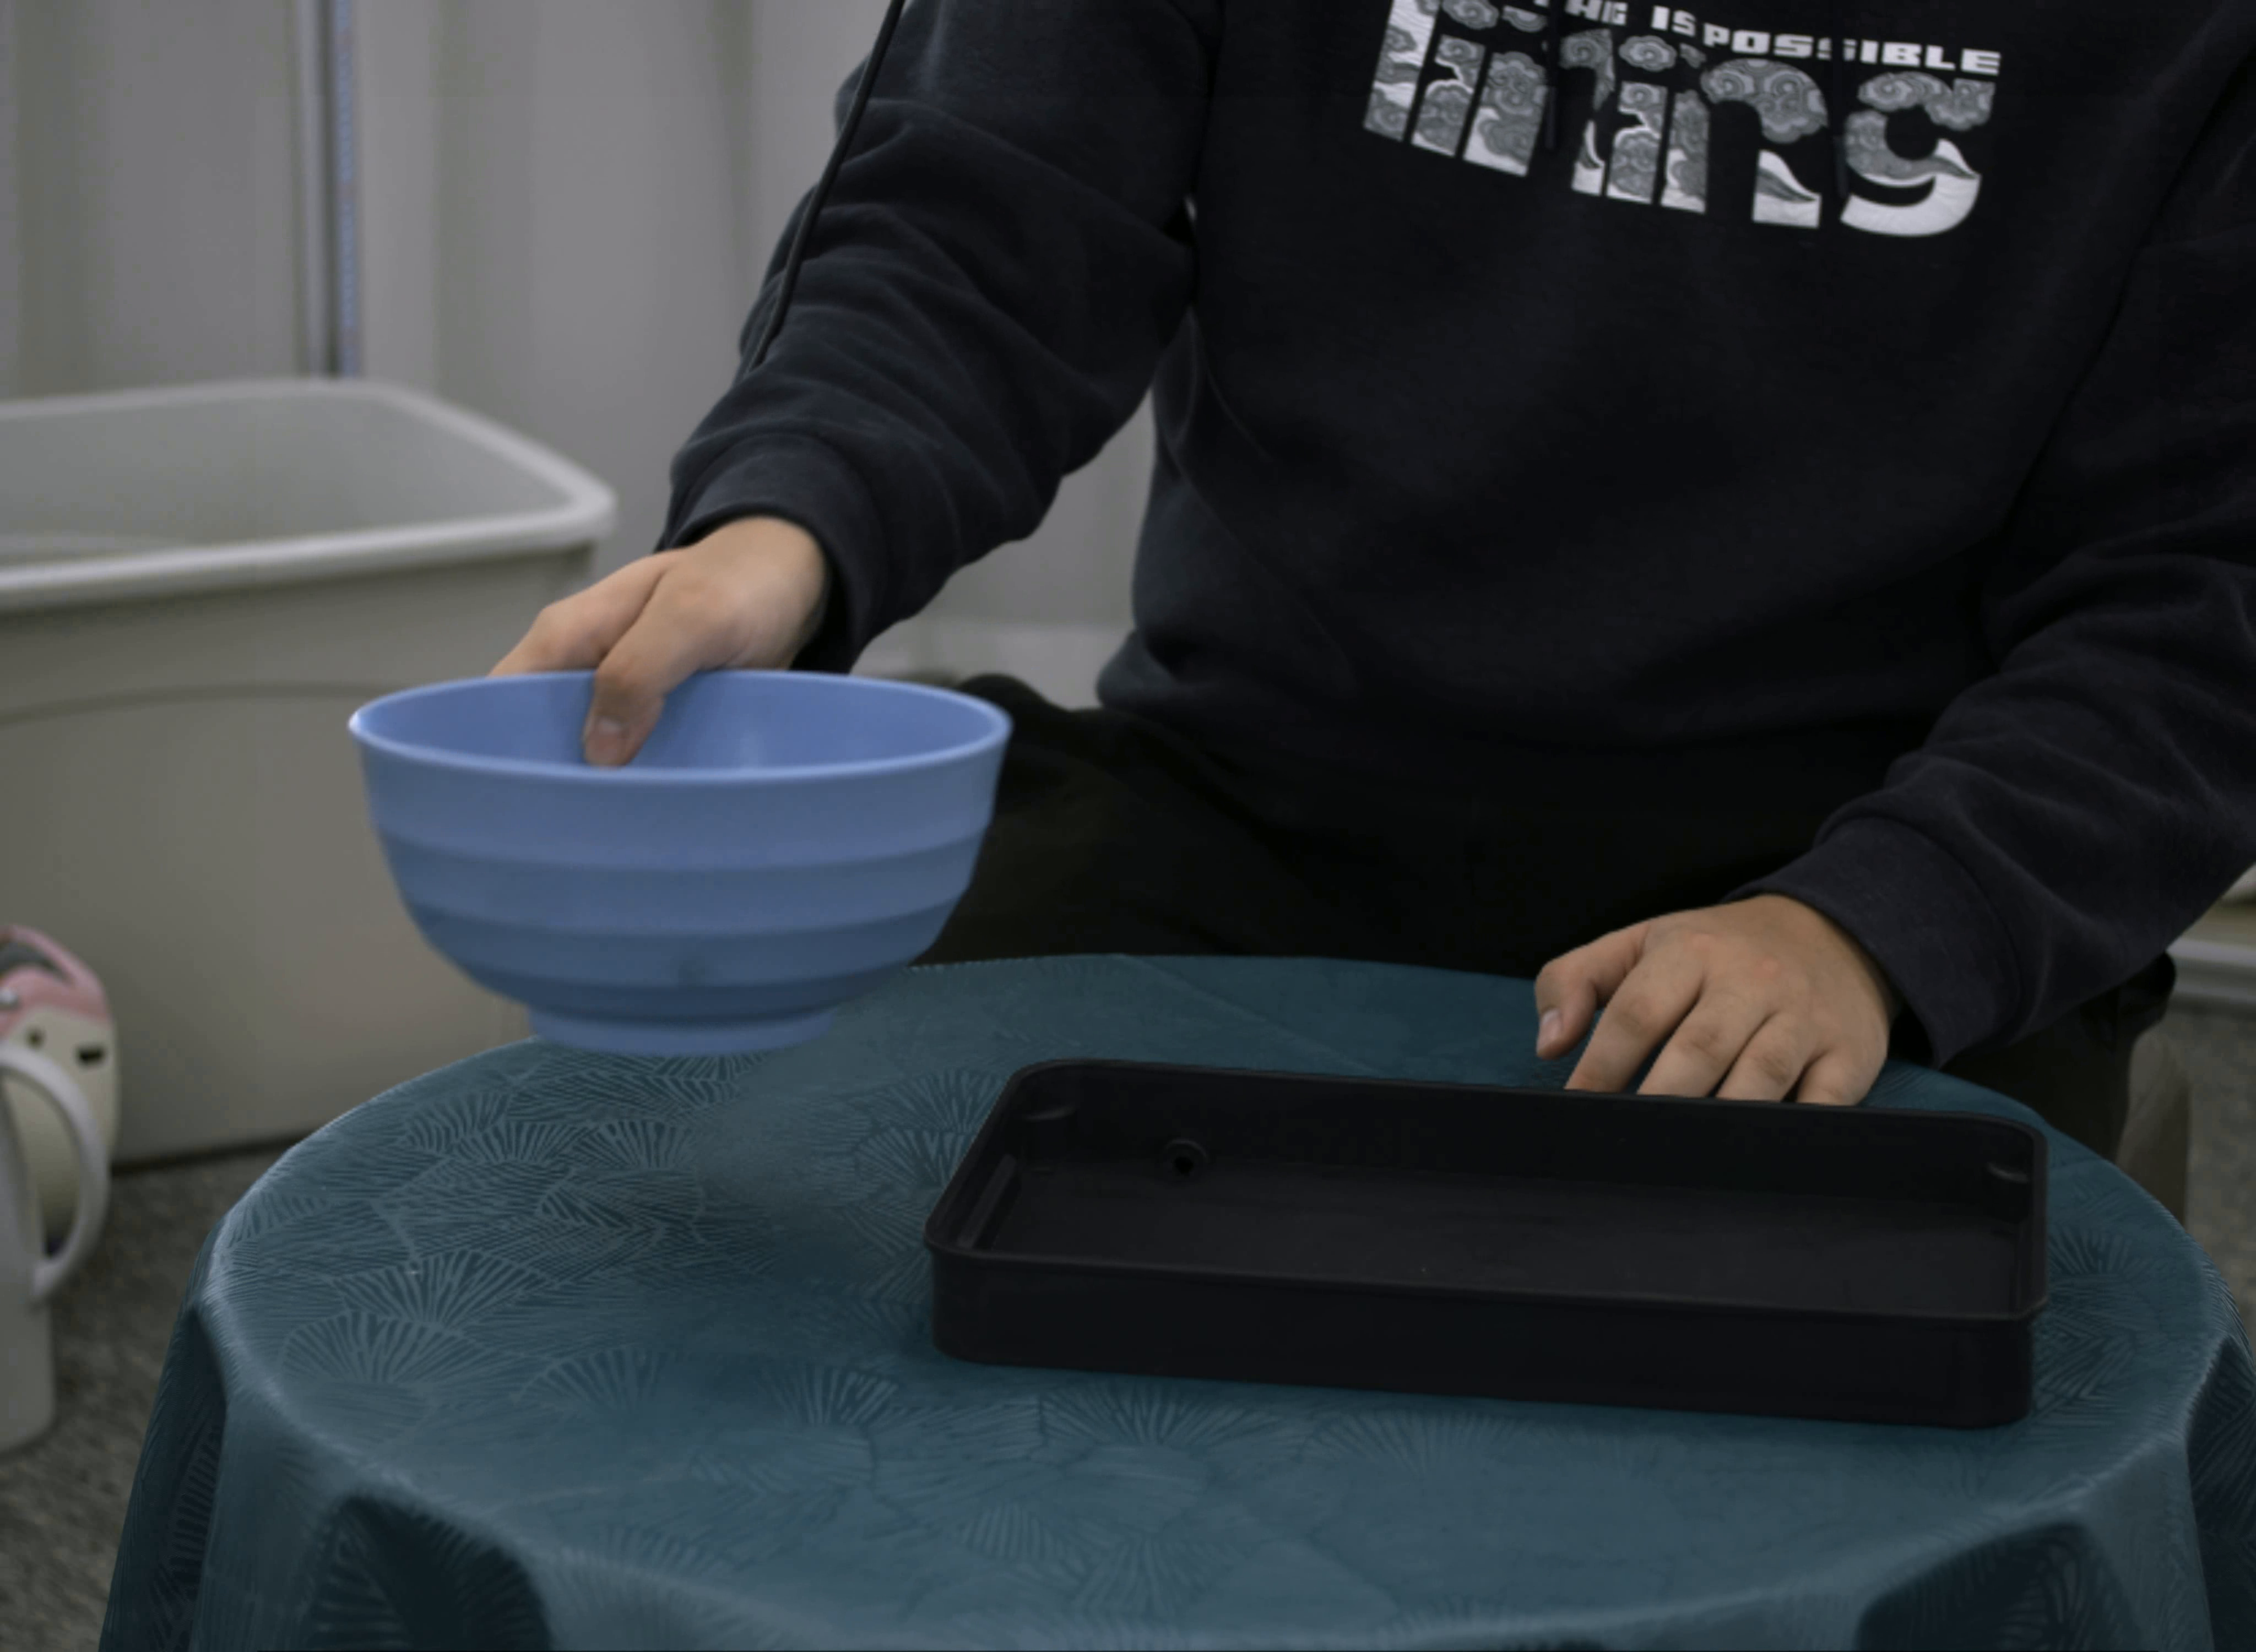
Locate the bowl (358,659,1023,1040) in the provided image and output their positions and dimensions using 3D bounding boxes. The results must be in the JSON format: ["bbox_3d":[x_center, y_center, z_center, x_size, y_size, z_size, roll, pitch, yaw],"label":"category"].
[{"bbox_3d":[-0.128,0.008,1.563,0.196,0.096,0.196,0,10,1],"label":"bowl"}]

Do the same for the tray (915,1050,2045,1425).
[{"bbox_3d":[0.107,0.117,1.542,0.316,0.037,0.184,3,15,8],"label":"tray"}]
